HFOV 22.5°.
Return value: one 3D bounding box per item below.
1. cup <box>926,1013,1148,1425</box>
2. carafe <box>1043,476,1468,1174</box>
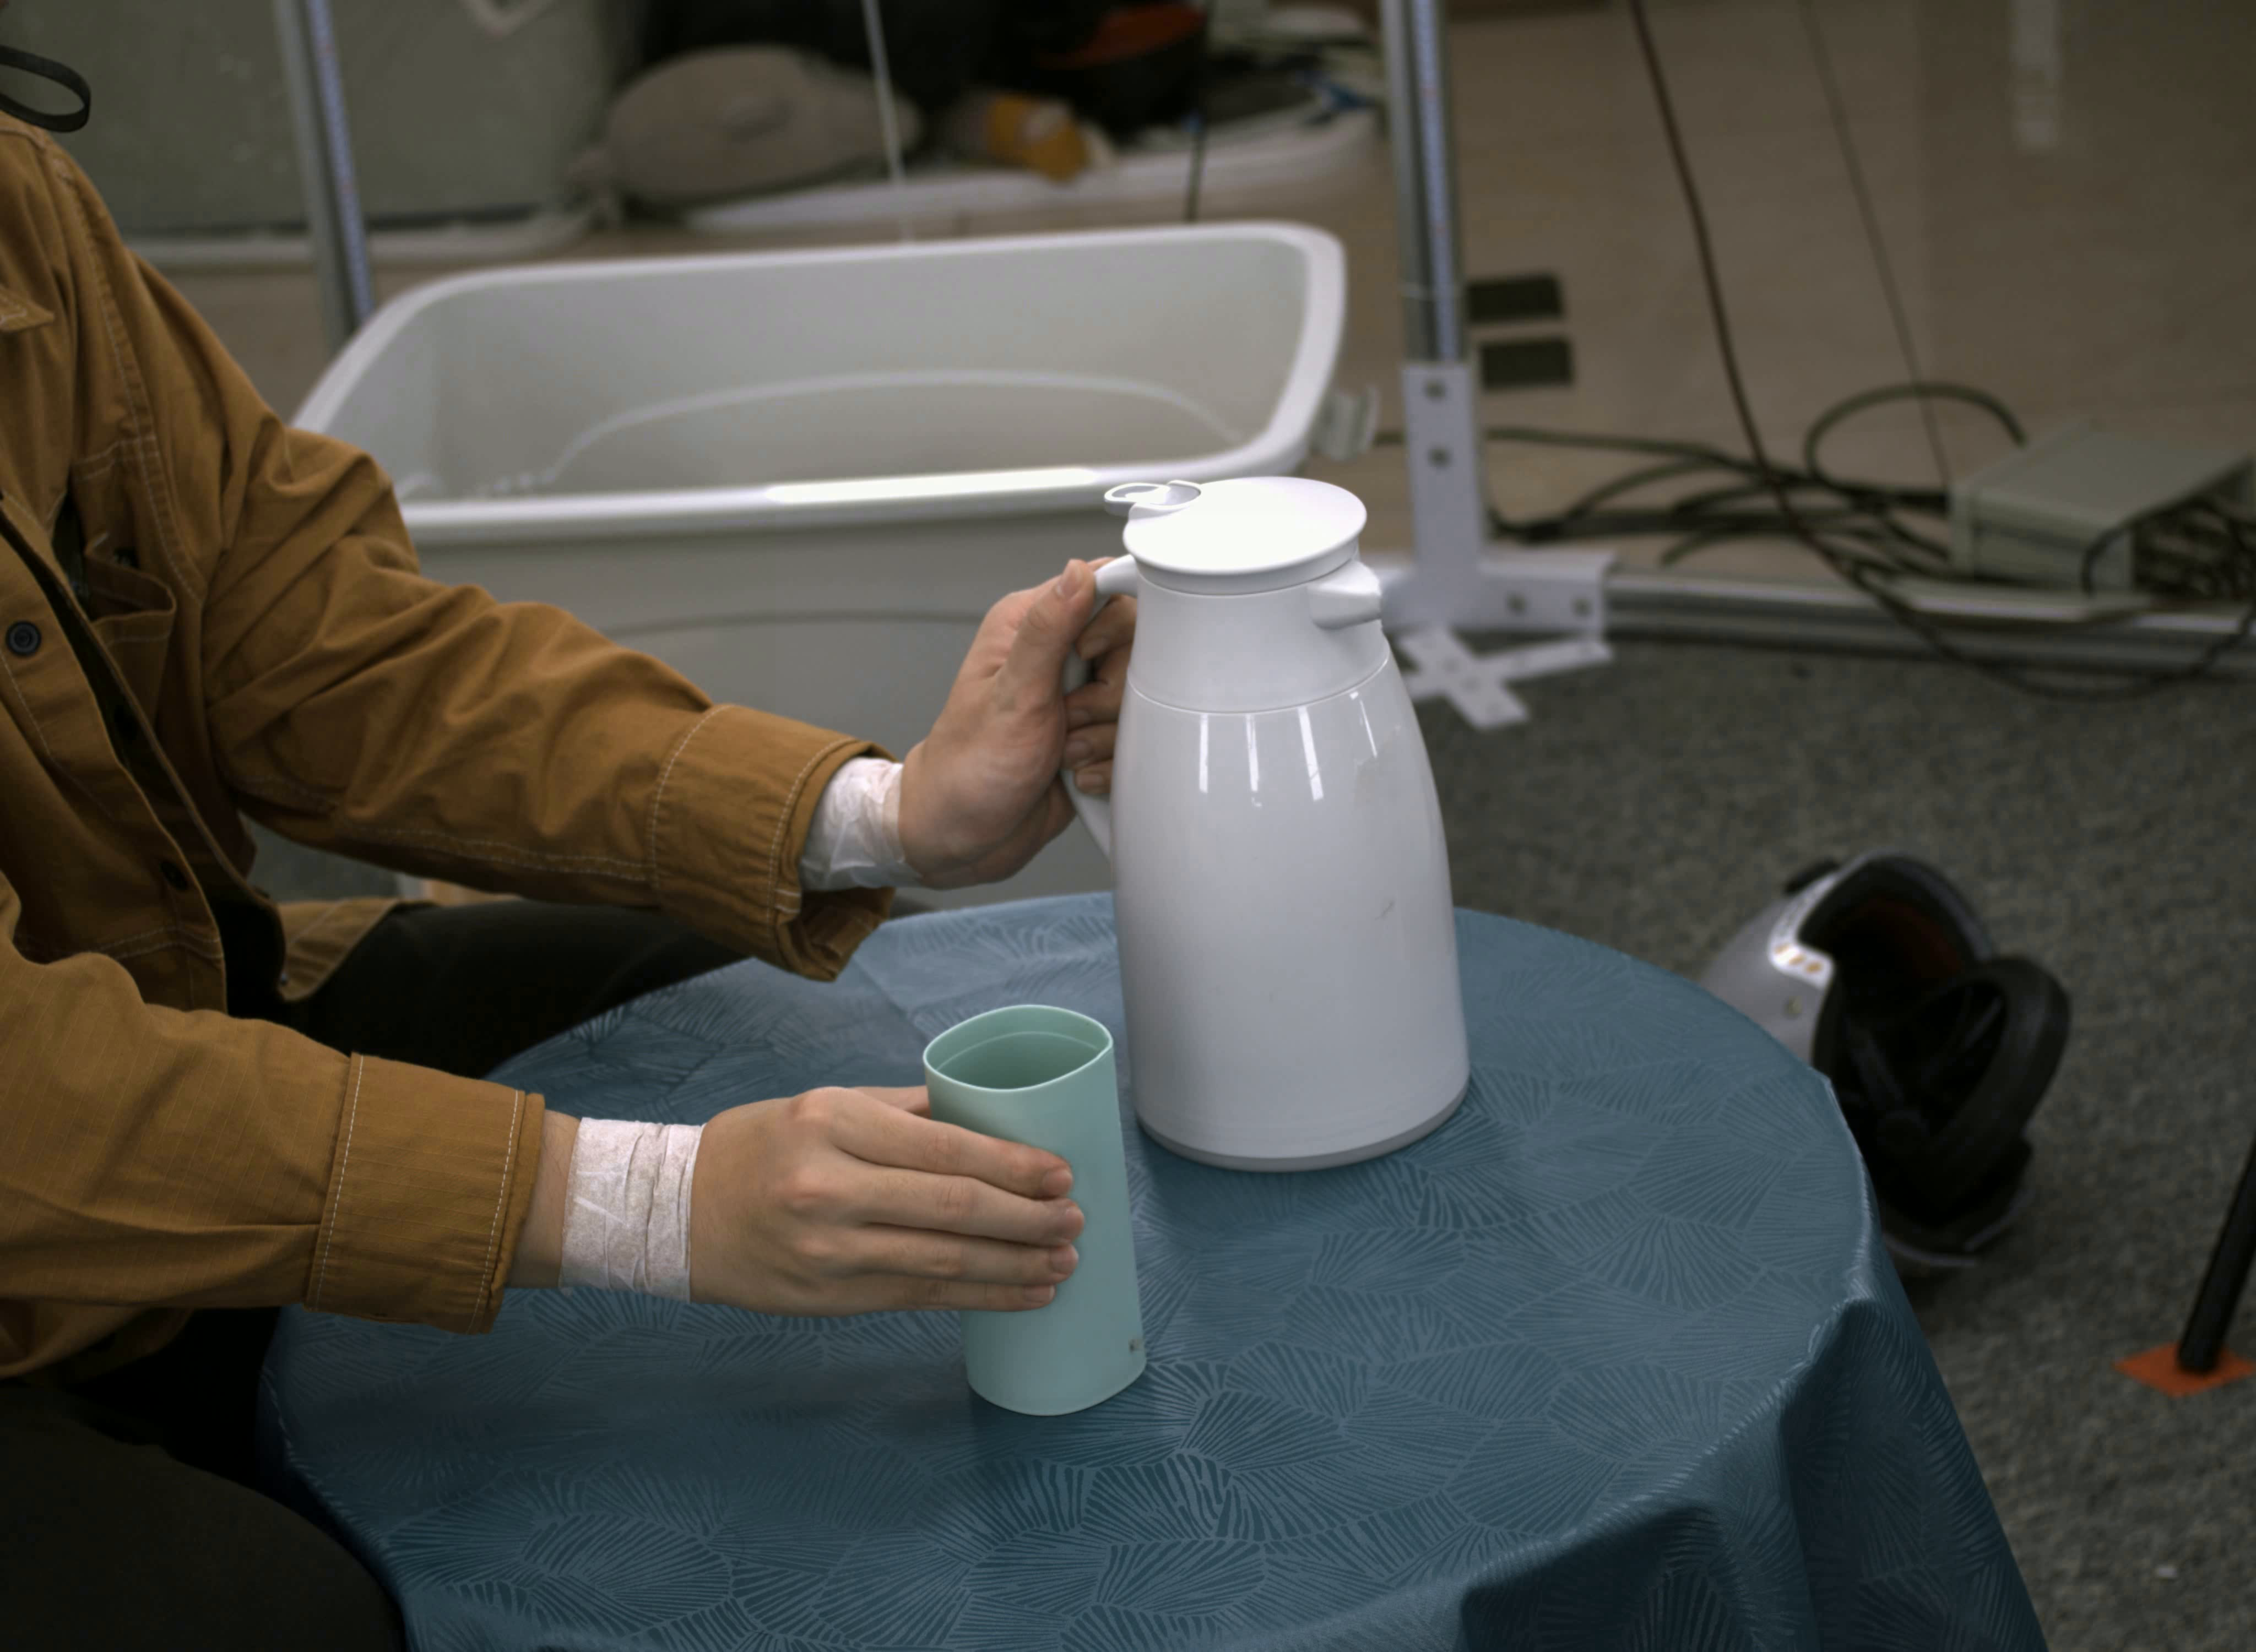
[{"bbox_3d":[-0.032,0.140,2.009,0.066,0.134,0.066,-5,26,3],"label":"cup"},{"bbox_3d":[0.040,-0.010,2.164,0.166,0.252,0.131,14,32,37],"label":"carafe"}]
